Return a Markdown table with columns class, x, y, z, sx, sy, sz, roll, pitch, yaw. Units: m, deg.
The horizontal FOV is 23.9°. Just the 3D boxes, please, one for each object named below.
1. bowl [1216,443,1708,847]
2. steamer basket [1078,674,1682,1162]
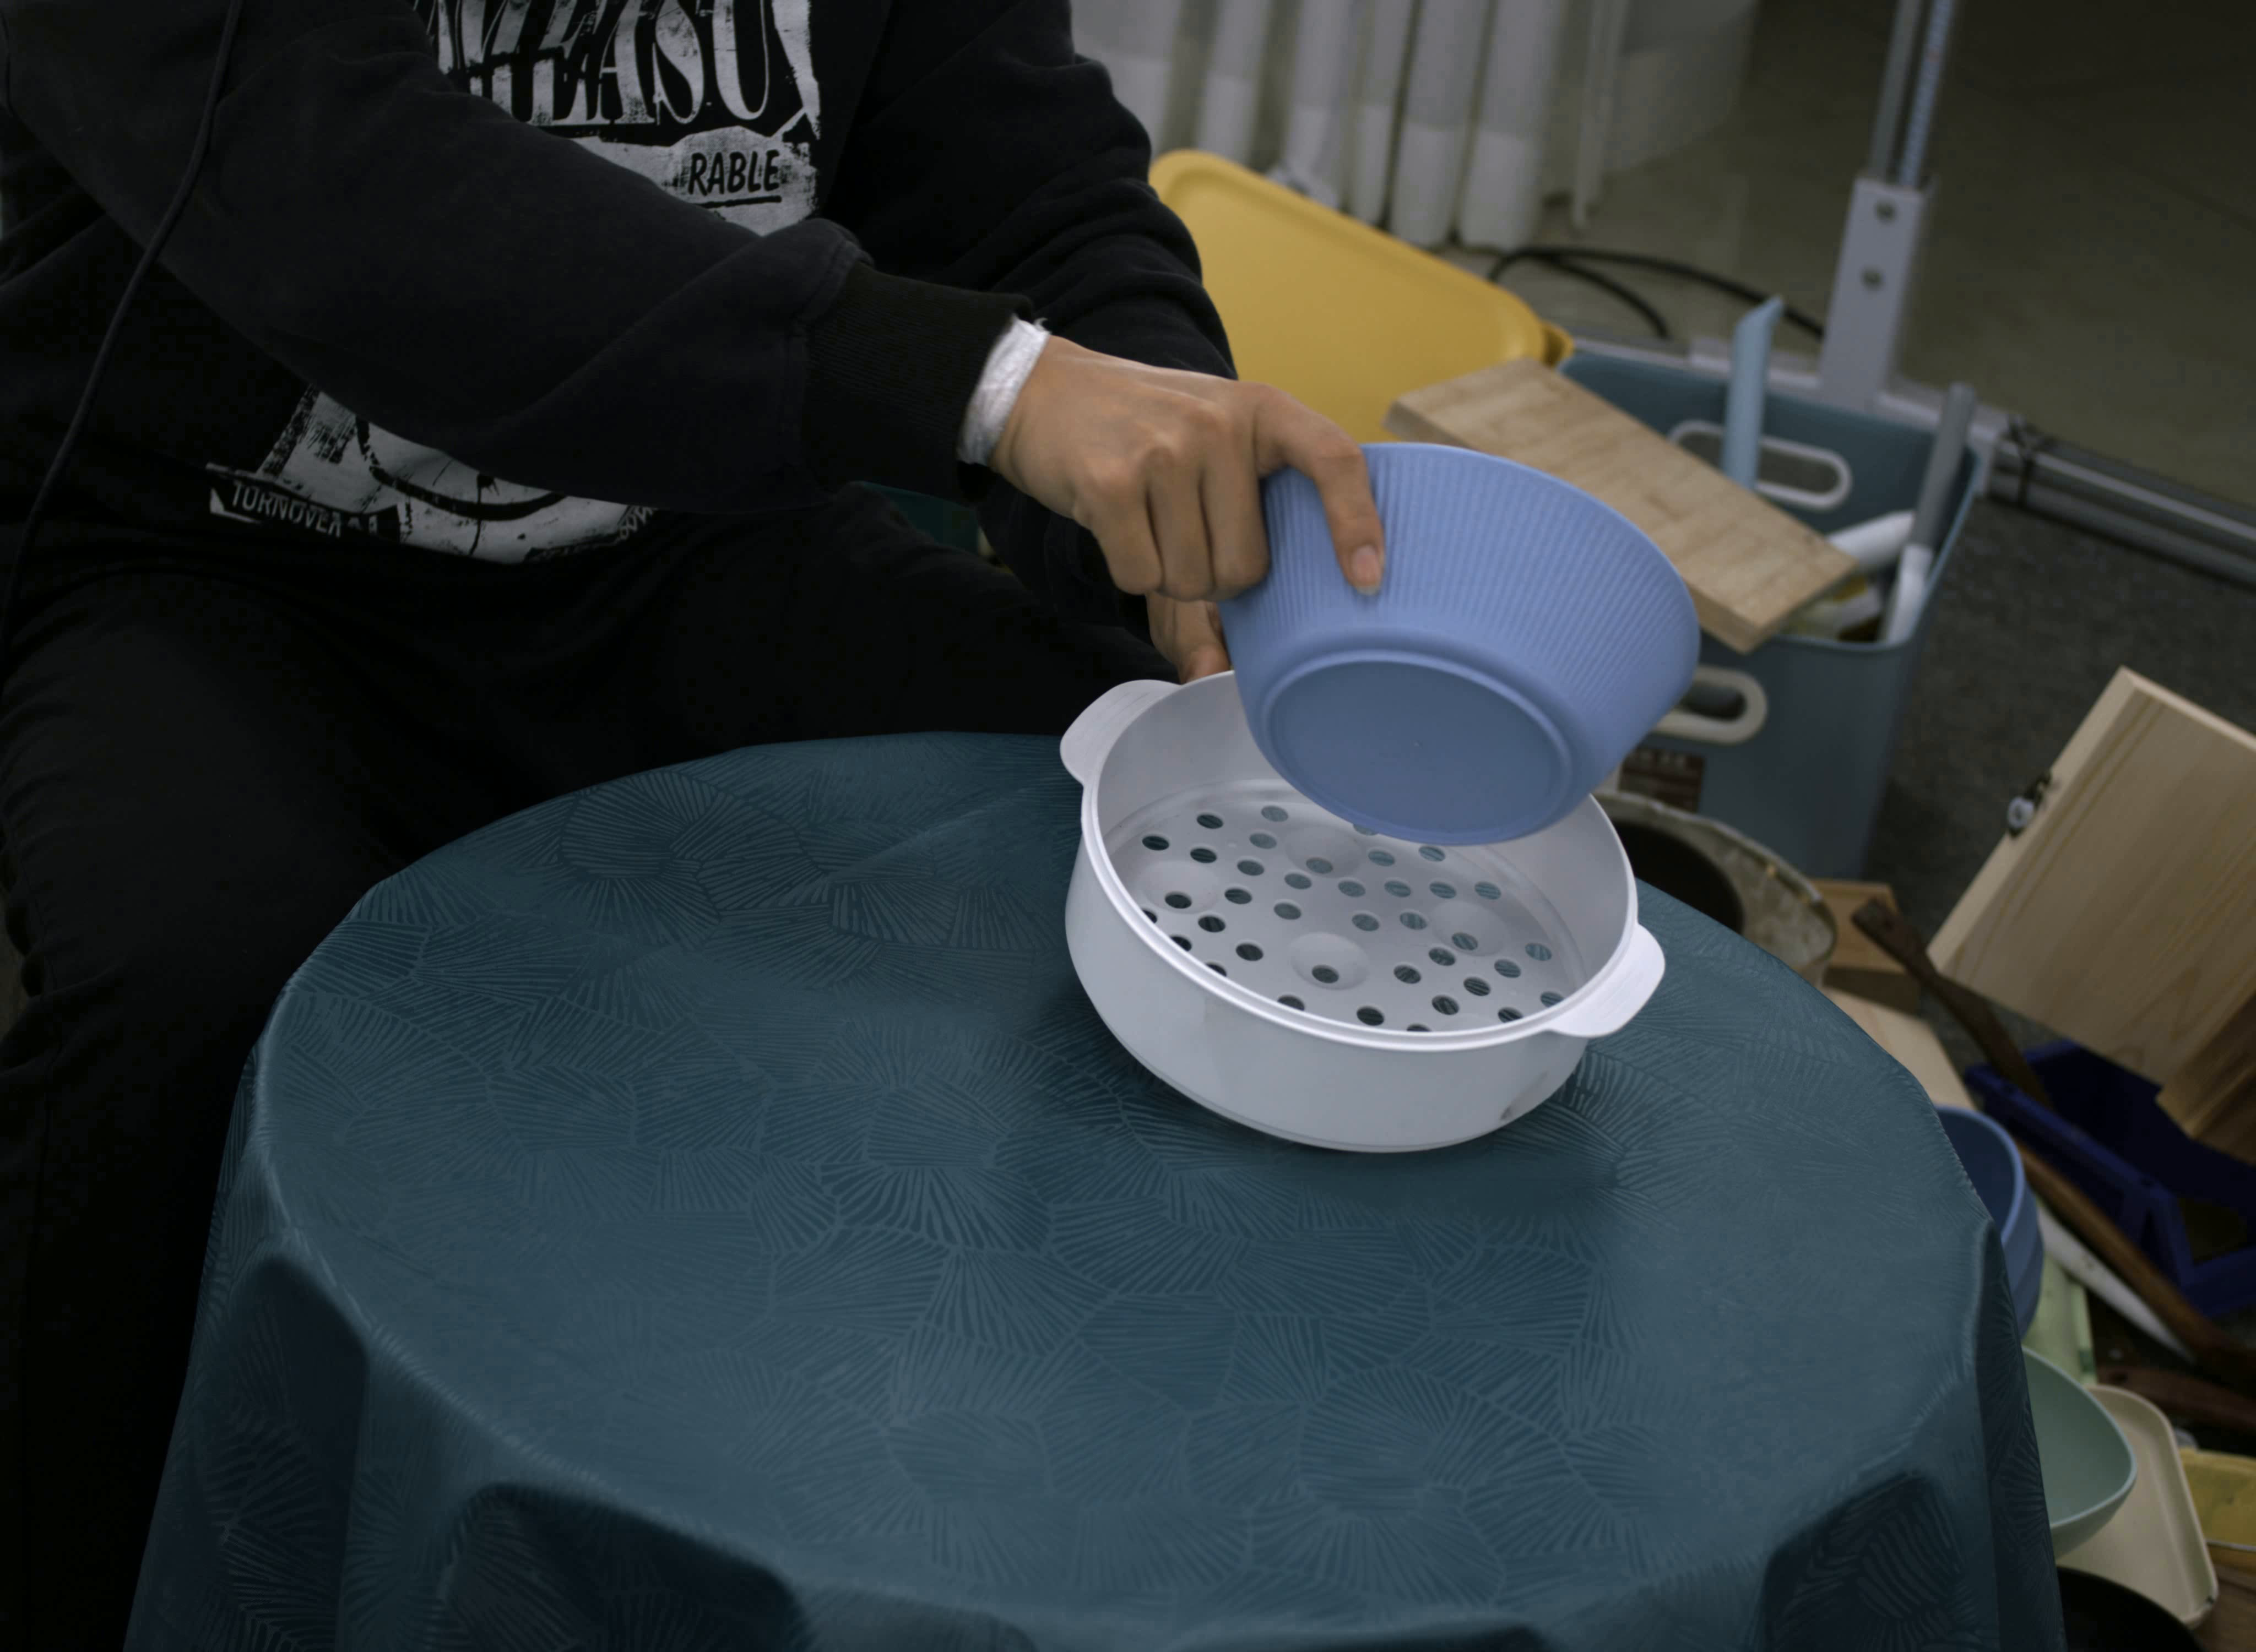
| class | x | y | z | sx | sy | sz | roll | pitch | yaw |
| --- | --- | --- | --- | --- | --- | --- | --- | --- | --- |
| bowl | 0.109 | -0.052 | 1.847 | 0.176 | 0.175 | 0.071 | 11 | 55 | 8 |
| steamer basket | 0.082 | 0.033 | 1.888 | 0.231 | 0.069 | 0.202 | 29 | 41 | 15 |
